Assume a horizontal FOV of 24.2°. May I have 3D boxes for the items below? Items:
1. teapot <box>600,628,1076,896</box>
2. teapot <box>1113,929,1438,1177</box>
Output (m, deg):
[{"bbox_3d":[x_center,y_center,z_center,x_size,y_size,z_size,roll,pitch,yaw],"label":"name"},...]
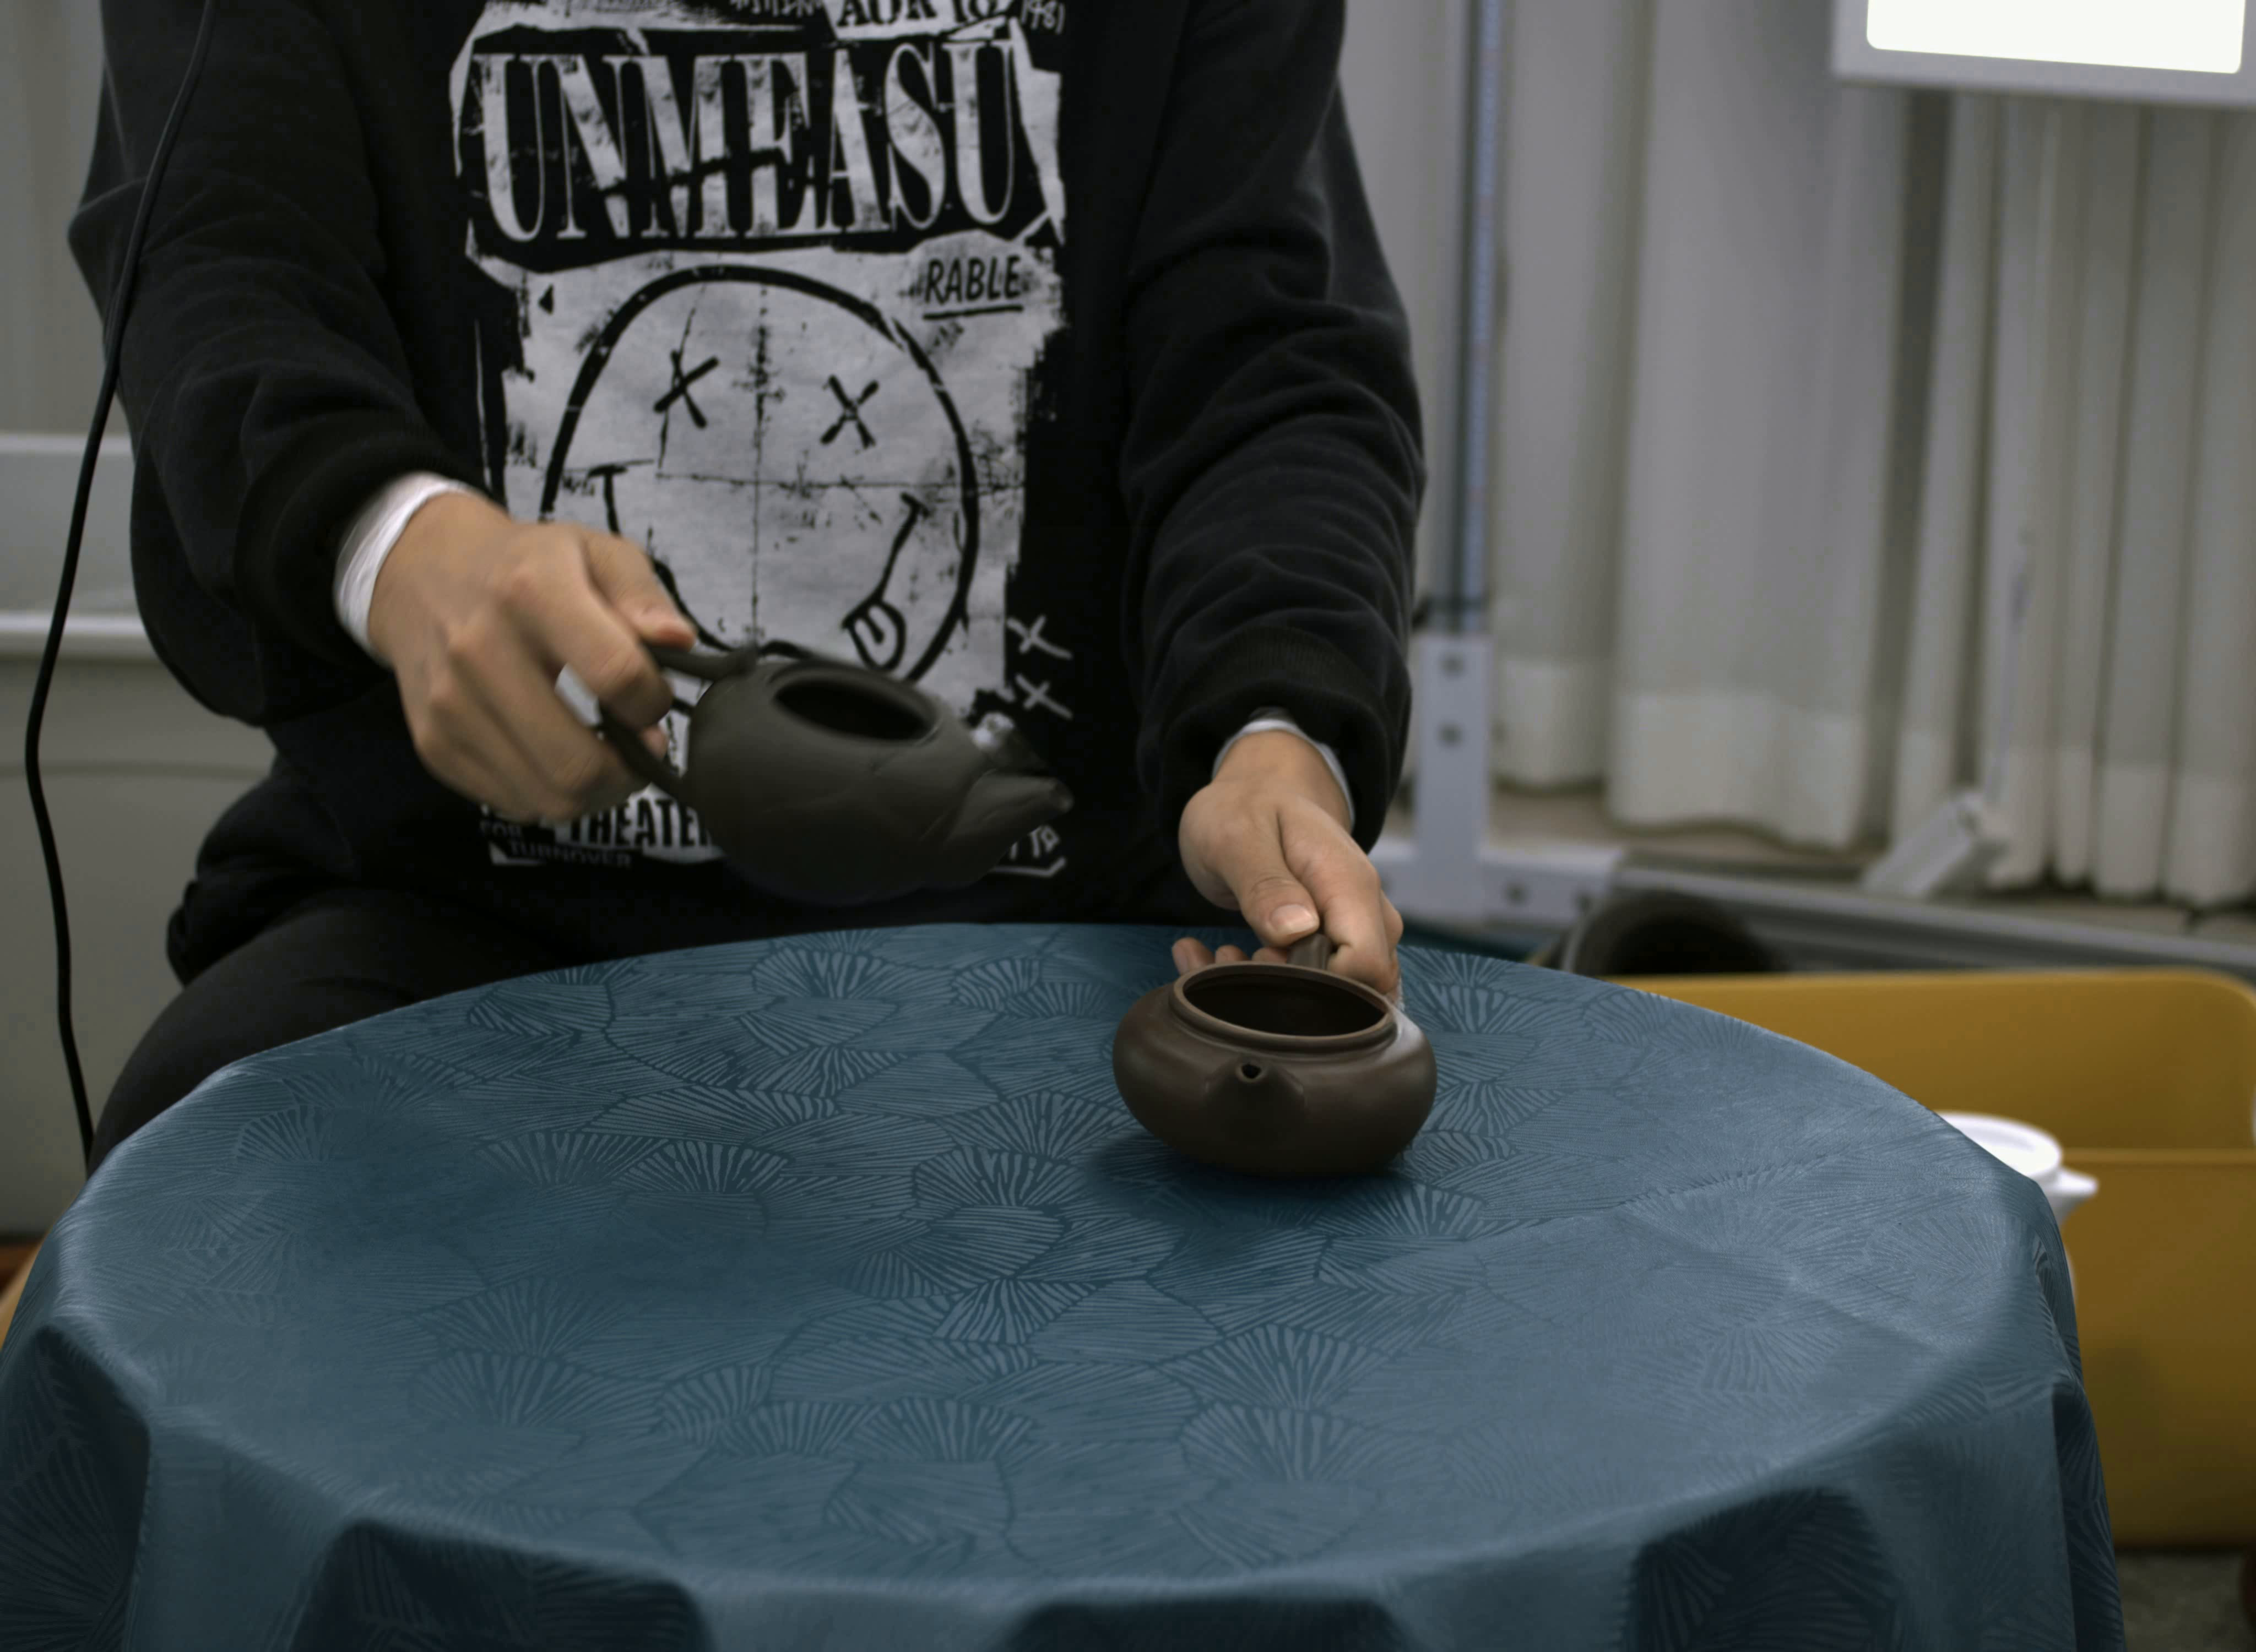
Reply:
[{"bbox_3d":[-0.091,-0.019,1.596,0.153,0.065,0.092,21,22,10],"label":"teapot"},{"bbox_3d":[0.047,0.072,1.654,0.102,0.054,0.153,10,19,1],"label":"teapot"}]
